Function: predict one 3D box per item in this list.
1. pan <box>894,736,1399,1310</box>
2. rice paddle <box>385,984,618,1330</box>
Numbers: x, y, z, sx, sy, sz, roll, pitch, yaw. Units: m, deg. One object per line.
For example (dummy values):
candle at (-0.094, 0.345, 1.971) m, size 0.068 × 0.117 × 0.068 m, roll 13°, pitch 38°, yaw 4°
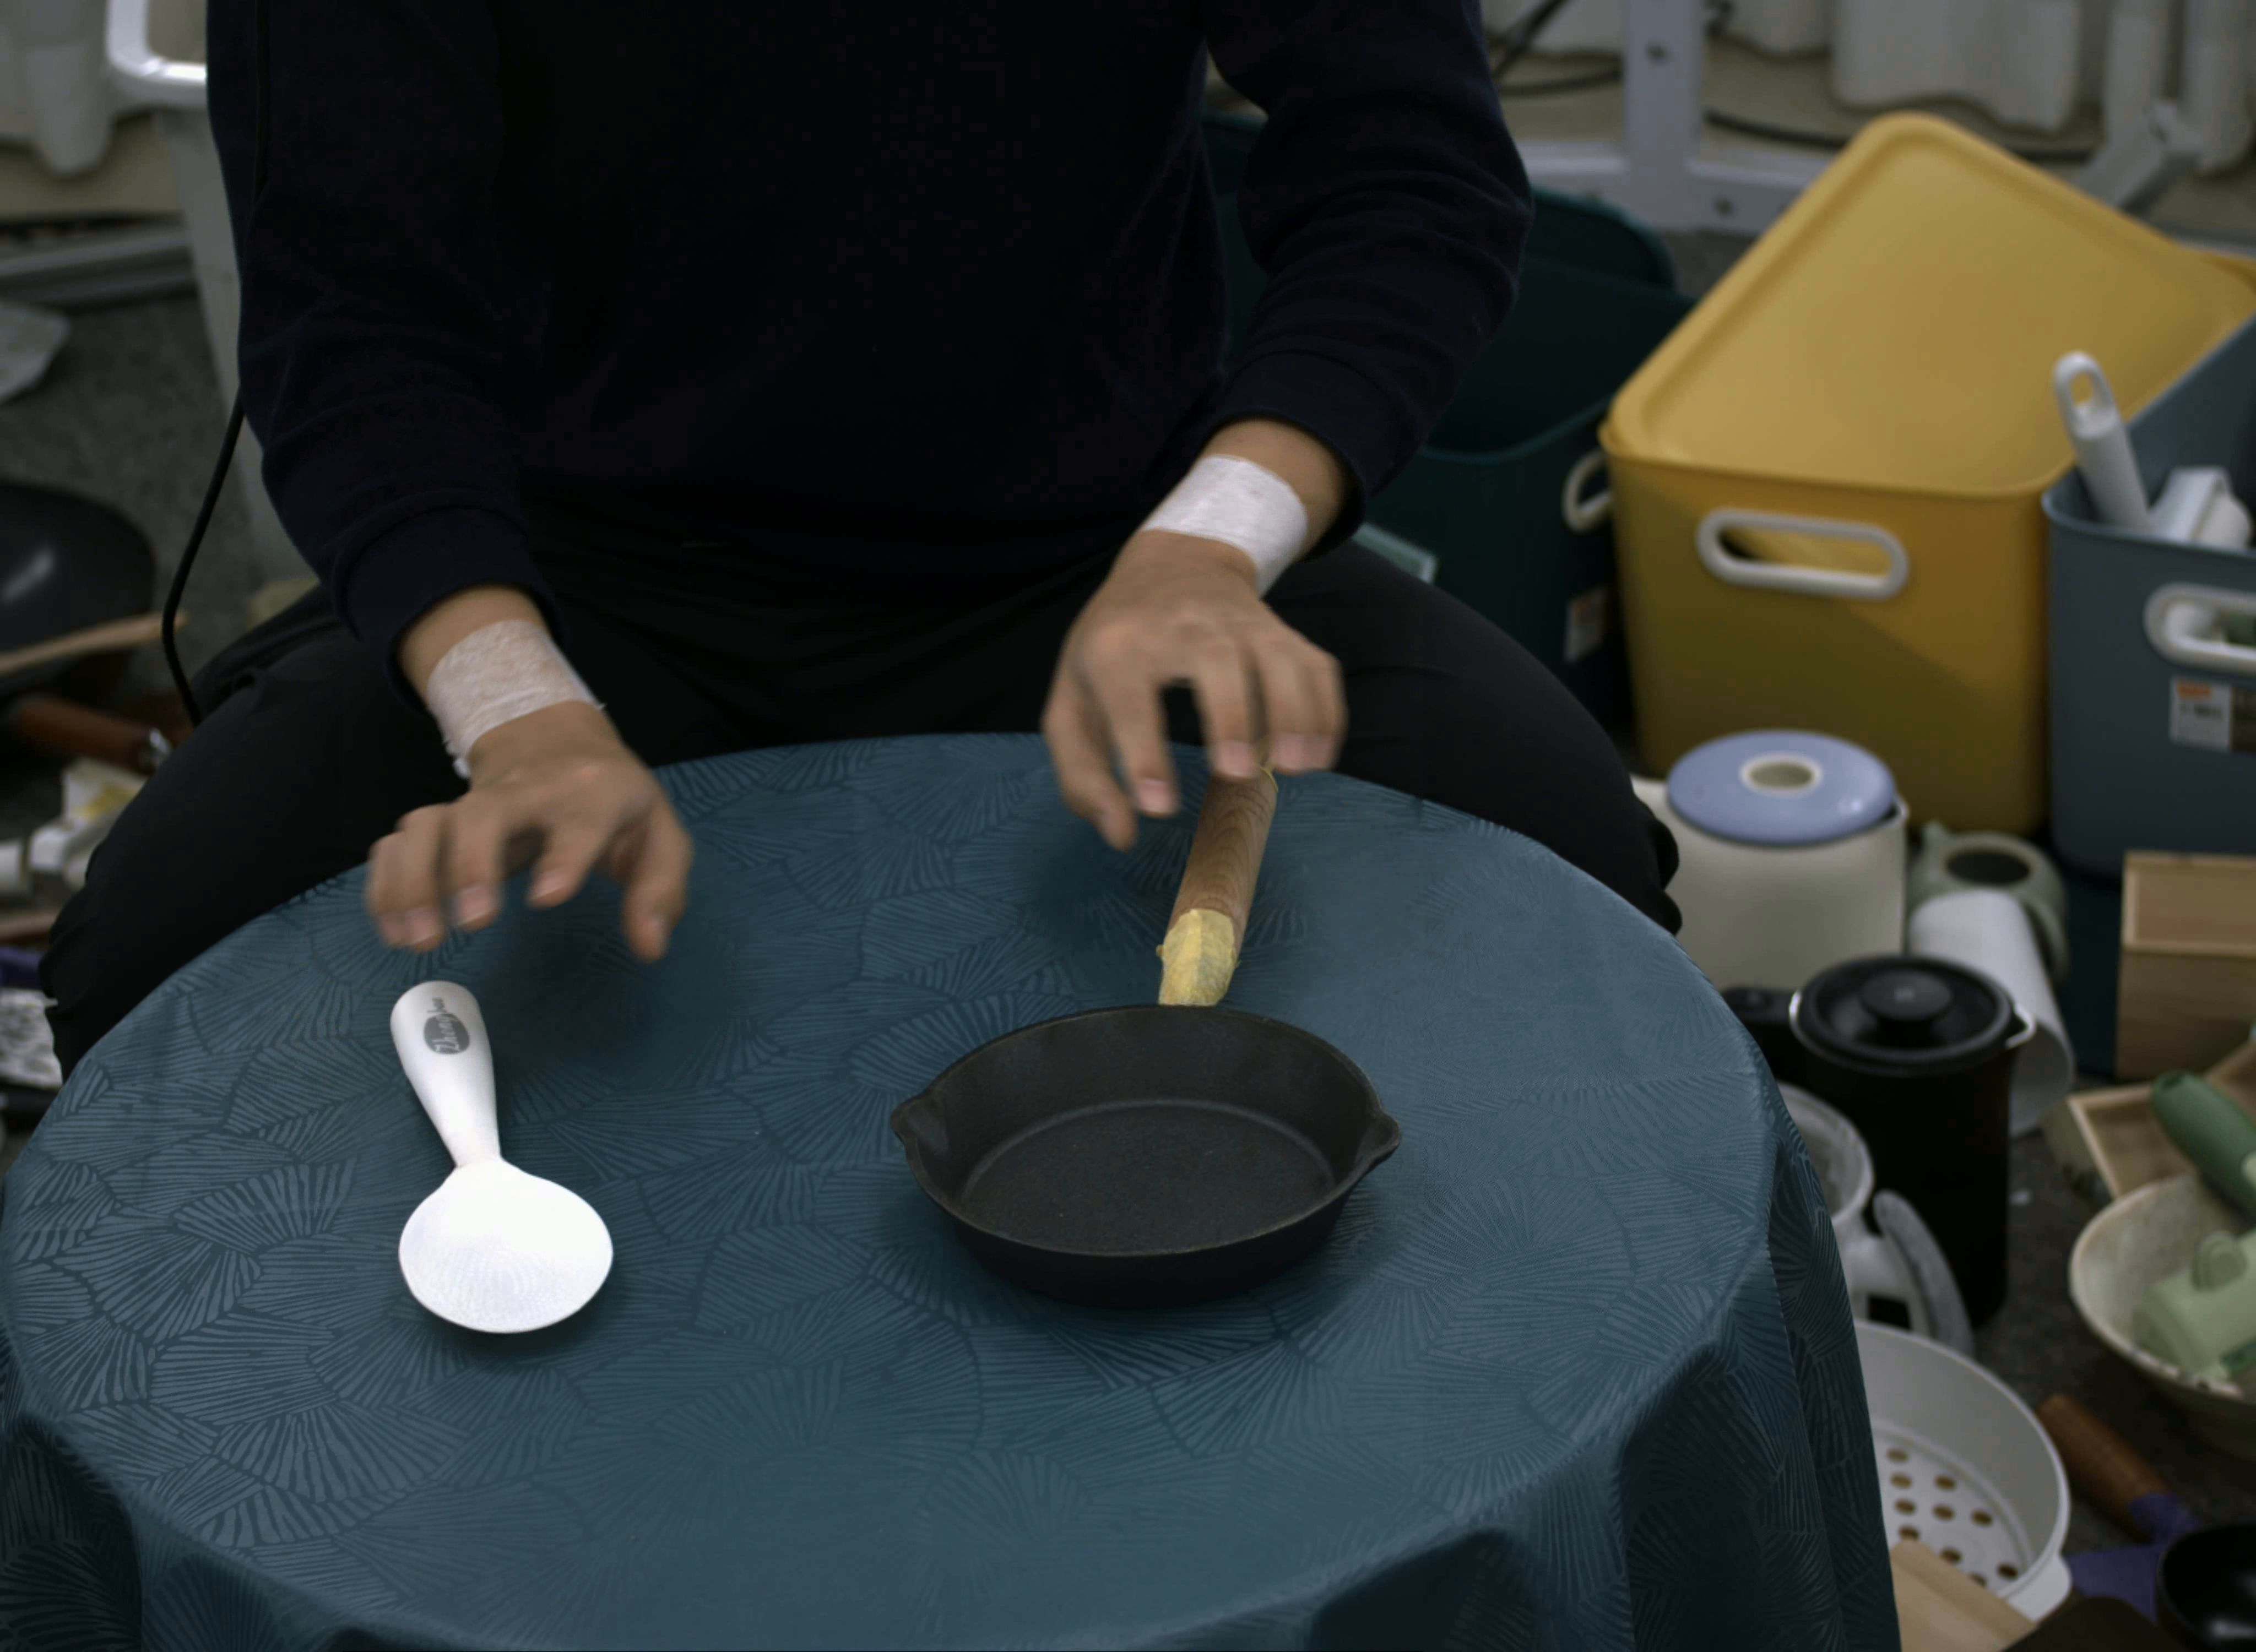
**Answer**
pan at (0.022, 0.064, 1.916) m, size 0.168 × 0.049 × 0.330 m, roll 3°, pitch 30°, yaw 11°
rice paddle at (-0.216, 0.112, 1.870) m, size 0.069 × 0.029 × 0.207 m, roll -12°, pitch 28°, yaw -12°
